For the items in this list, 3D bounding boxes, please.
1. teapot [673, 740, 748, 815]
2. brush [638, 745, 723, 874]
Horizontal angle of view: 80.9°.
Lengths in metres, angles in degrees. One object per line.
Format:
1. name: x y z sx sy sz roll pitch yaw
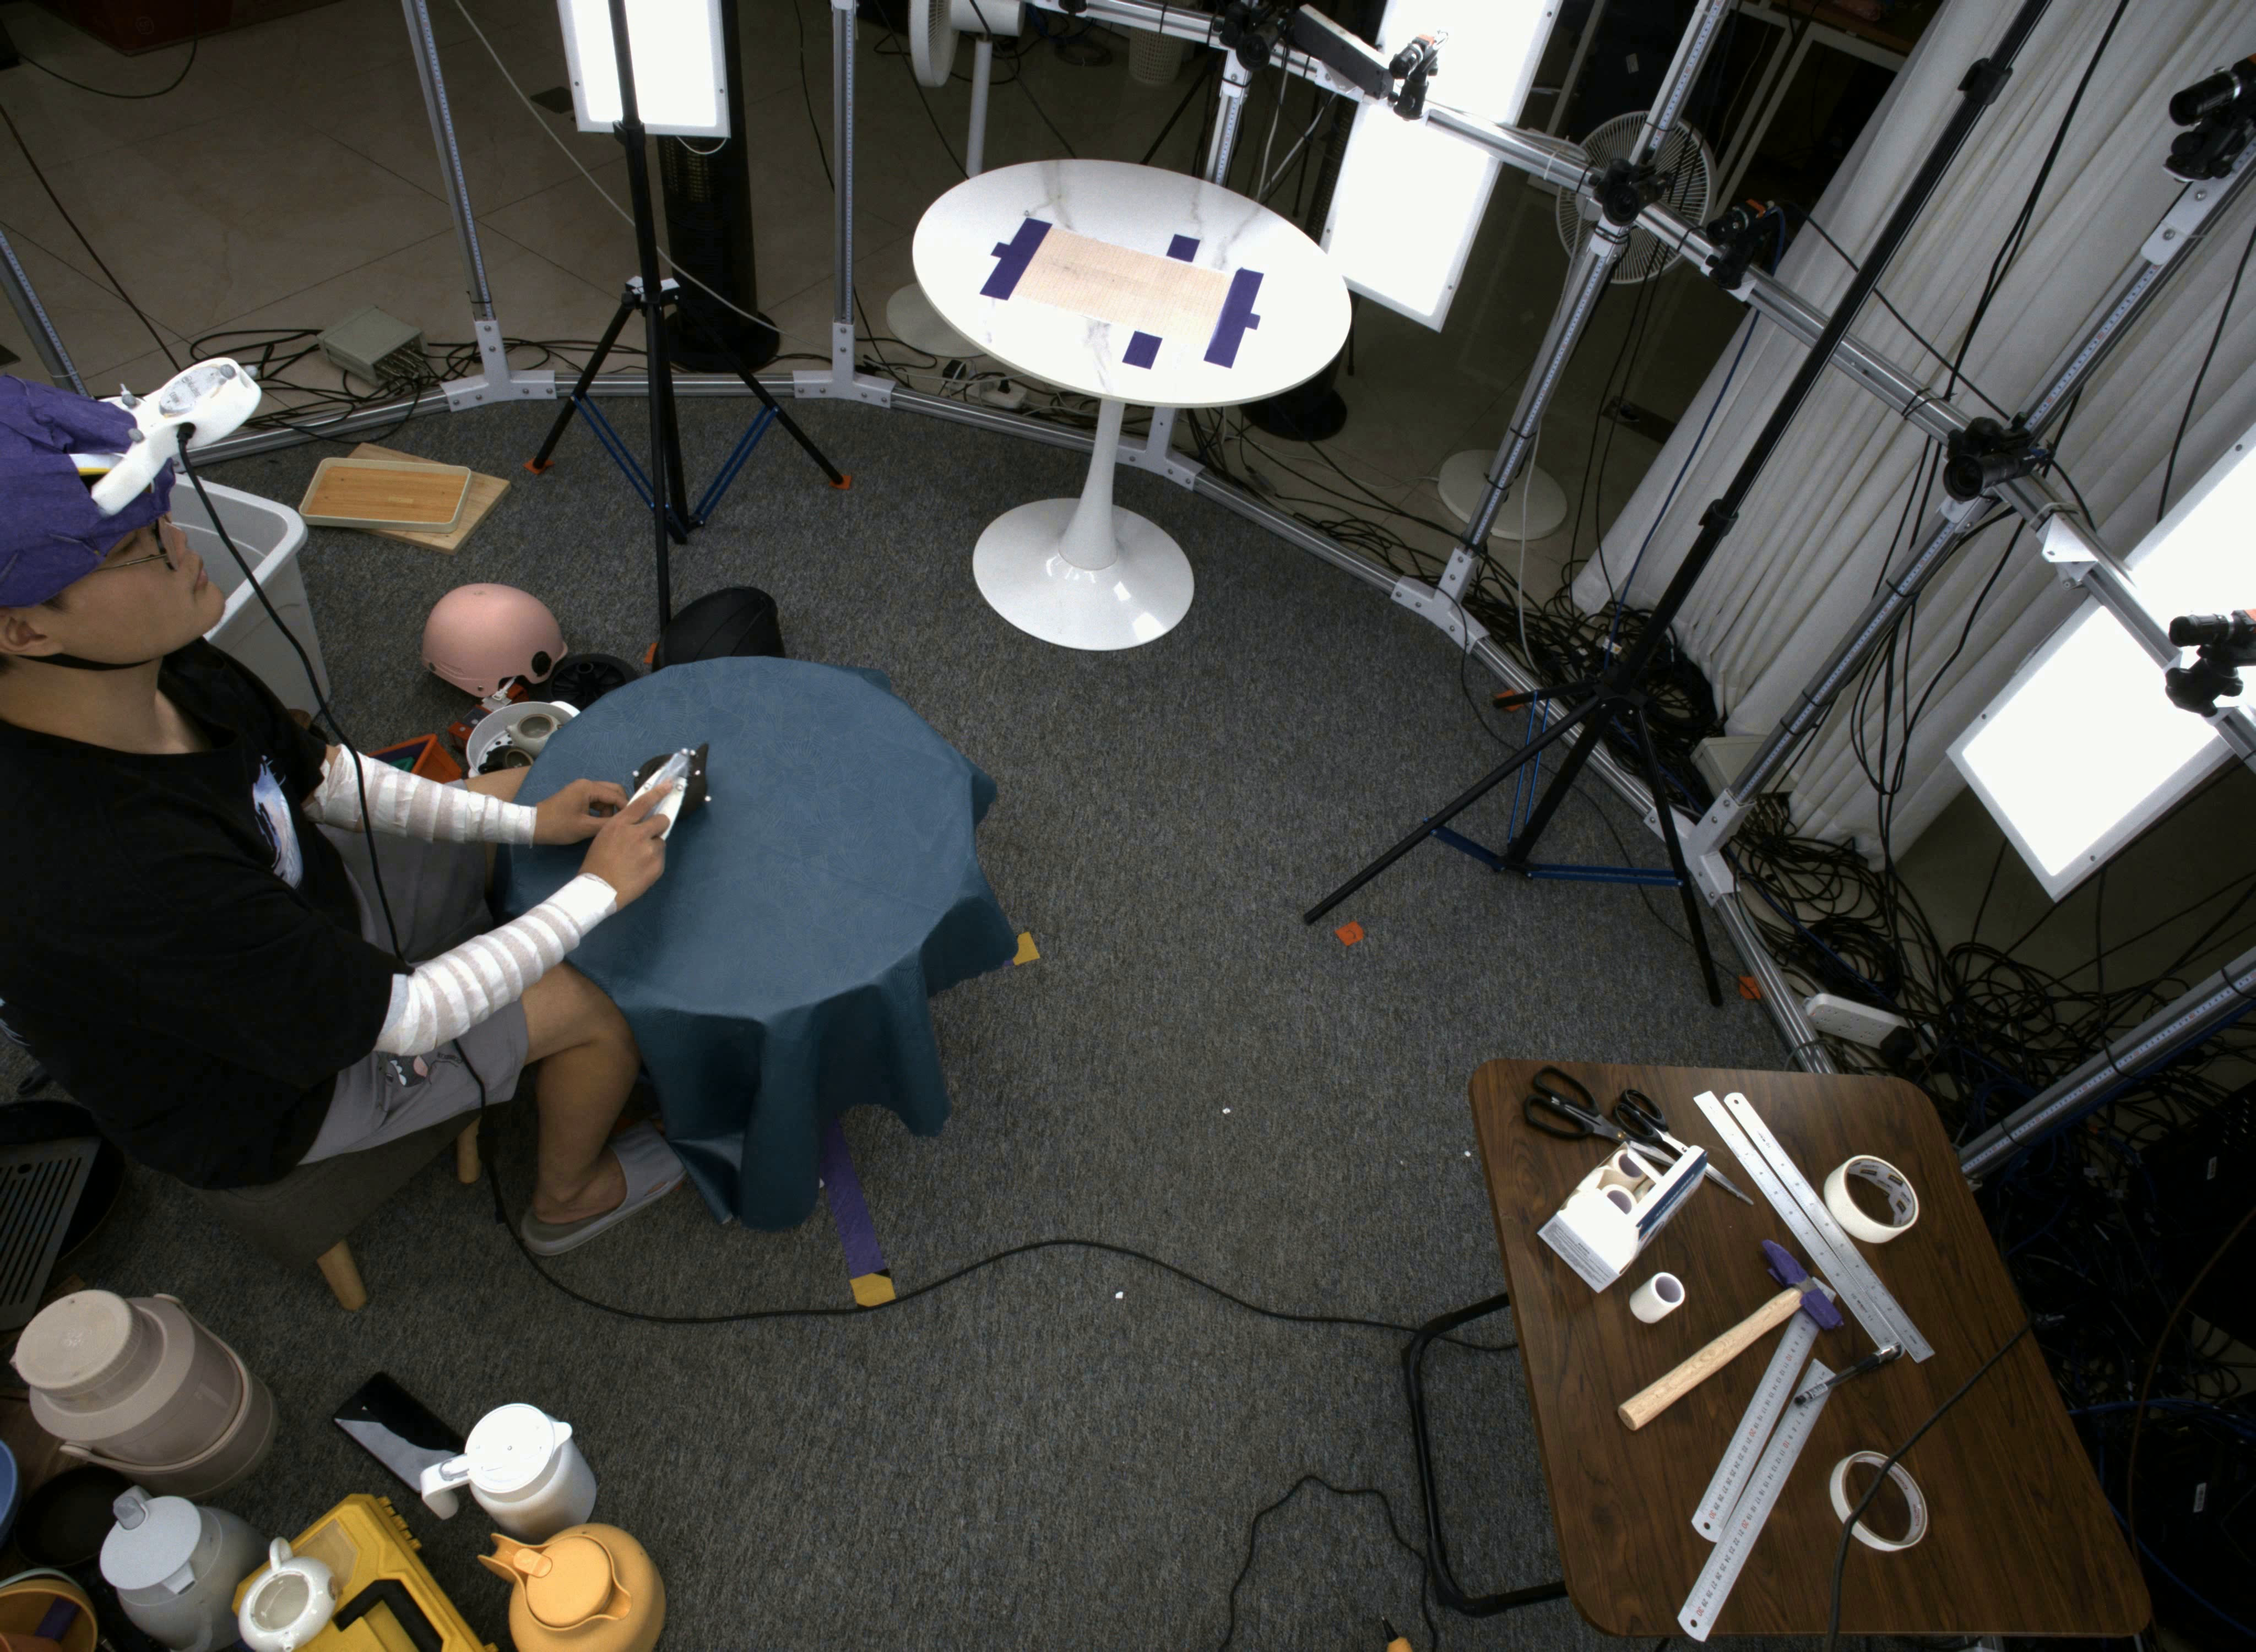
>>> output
1. teapot: -0.555 -0.058 1.703 0.090 0.066 0.154 32 52 12
2. brush: -0.550 -0.035 1.611 0.062 0.093 0.175 29 67 -14
